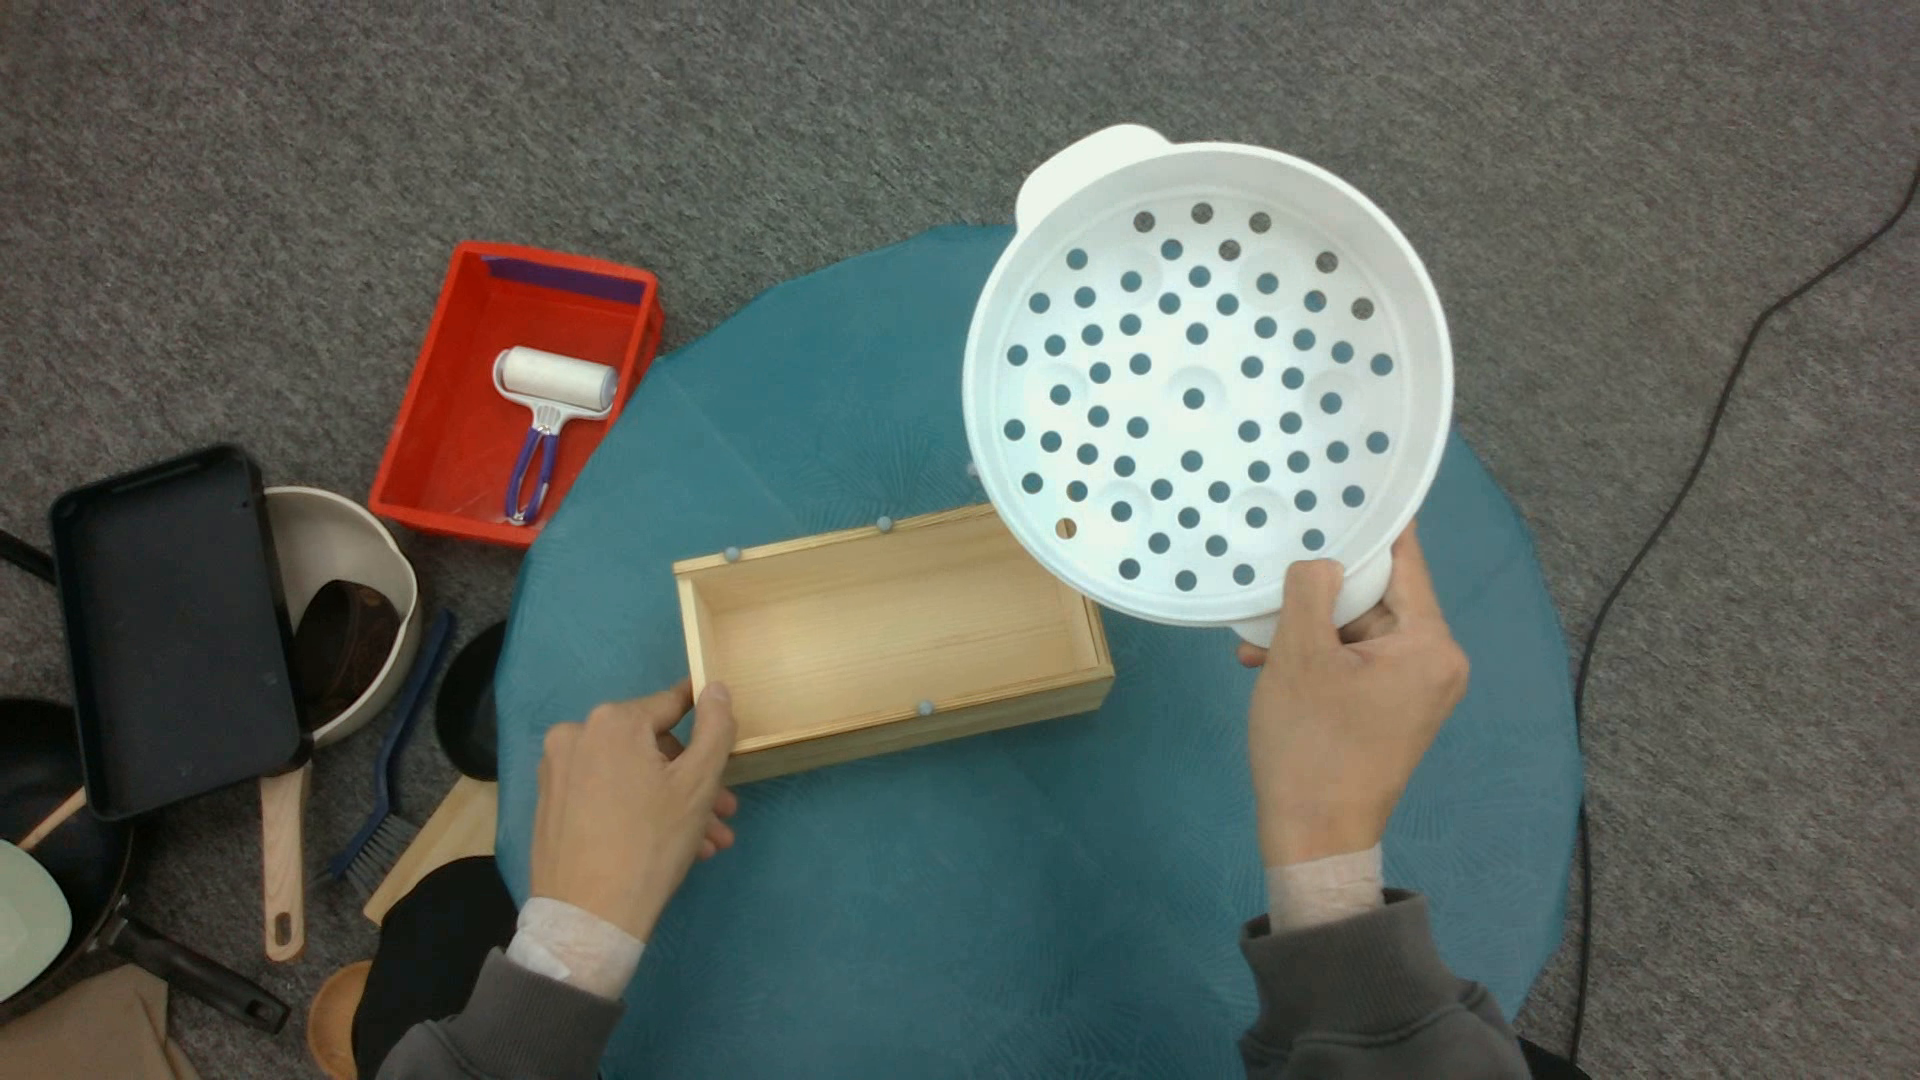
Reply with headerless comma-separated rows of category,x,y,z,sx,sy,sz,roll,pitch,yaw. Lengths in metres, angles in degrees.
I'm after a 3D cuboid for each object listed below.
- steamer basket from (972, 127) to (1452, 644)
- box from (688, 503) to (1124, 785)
steamer basket,0.108,-0.067,0.612,0.202,0.069,0.230,-27,88,6
box,-0.029,0.055,0.749,0.211,0.080,0.108,-11,72,-4
